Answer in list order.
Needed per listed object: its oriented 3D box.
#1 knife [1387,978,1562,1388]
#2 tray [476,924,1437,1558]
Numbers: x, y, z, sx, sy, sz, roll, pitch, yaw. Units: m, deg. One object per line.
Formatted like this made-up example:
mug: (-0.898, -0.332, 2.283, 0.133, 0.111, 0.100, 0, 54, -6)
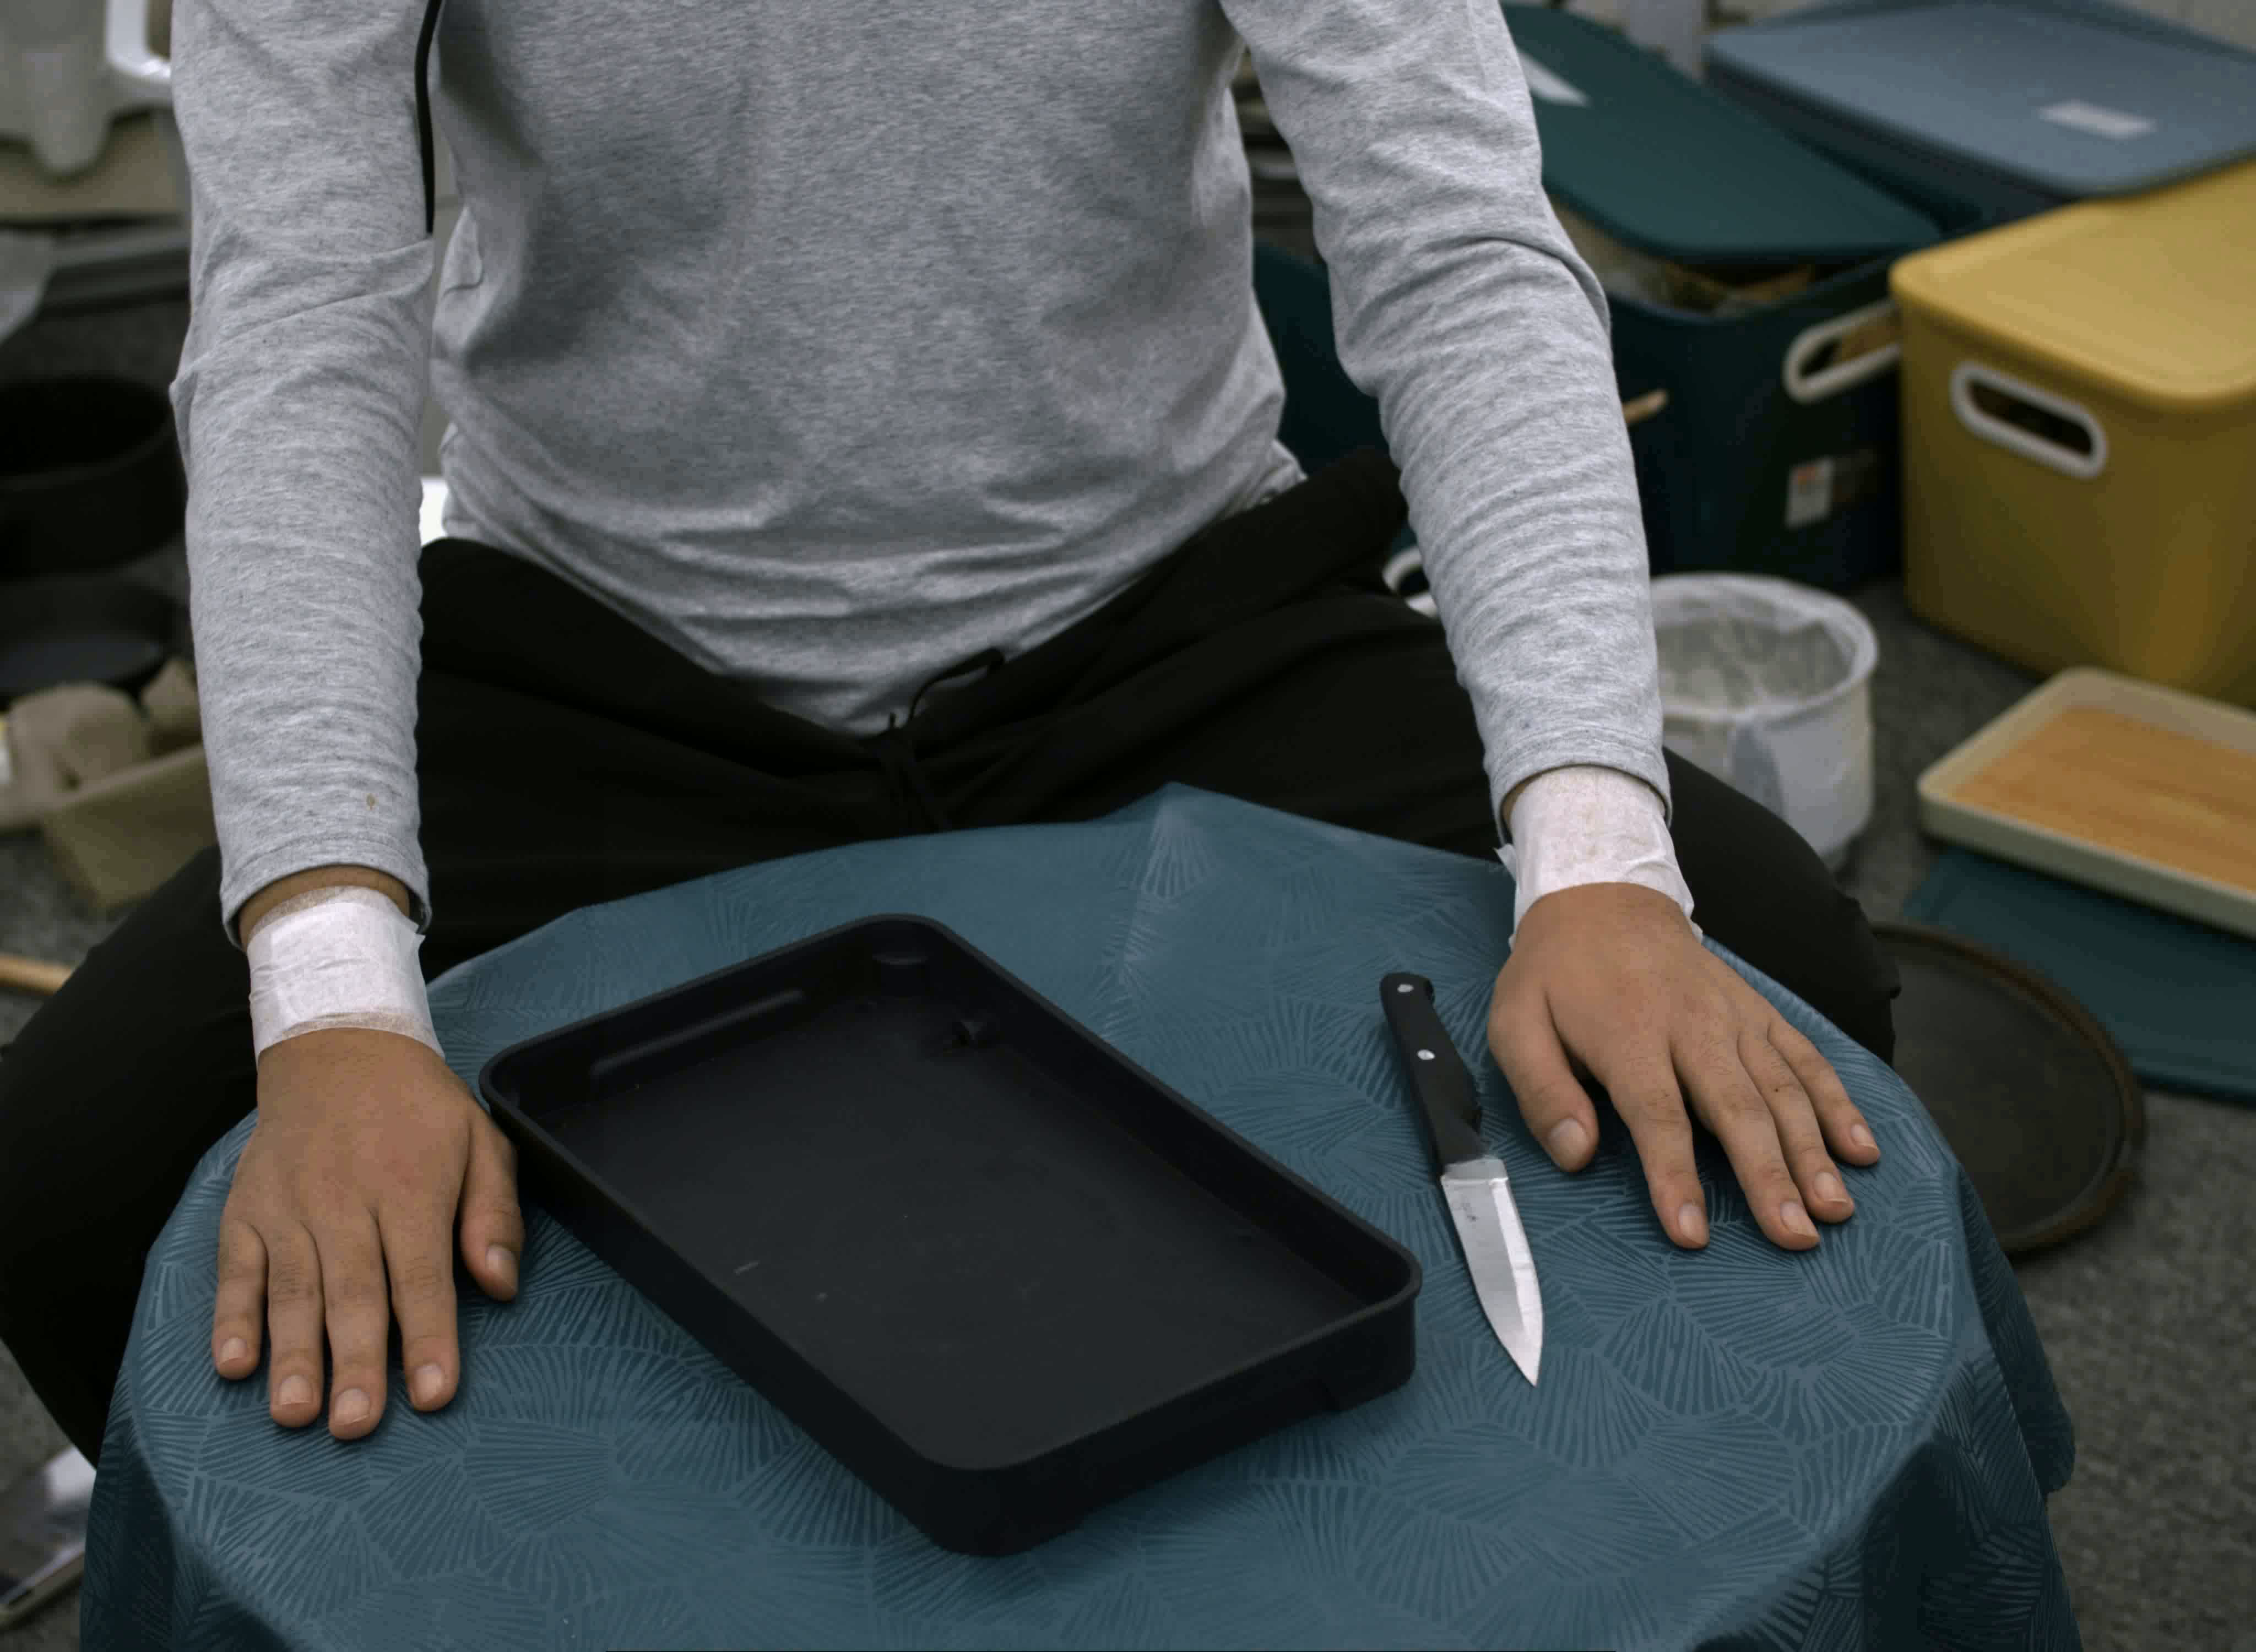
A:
knife: (0.113, 0.116, 1.849, 0.024, 0.016, 0.241, -9, 30, -4)
tray: (-0.060, 0.127, 1.817, 0.186, 0.036, 0.318, -20, 31, -31)
